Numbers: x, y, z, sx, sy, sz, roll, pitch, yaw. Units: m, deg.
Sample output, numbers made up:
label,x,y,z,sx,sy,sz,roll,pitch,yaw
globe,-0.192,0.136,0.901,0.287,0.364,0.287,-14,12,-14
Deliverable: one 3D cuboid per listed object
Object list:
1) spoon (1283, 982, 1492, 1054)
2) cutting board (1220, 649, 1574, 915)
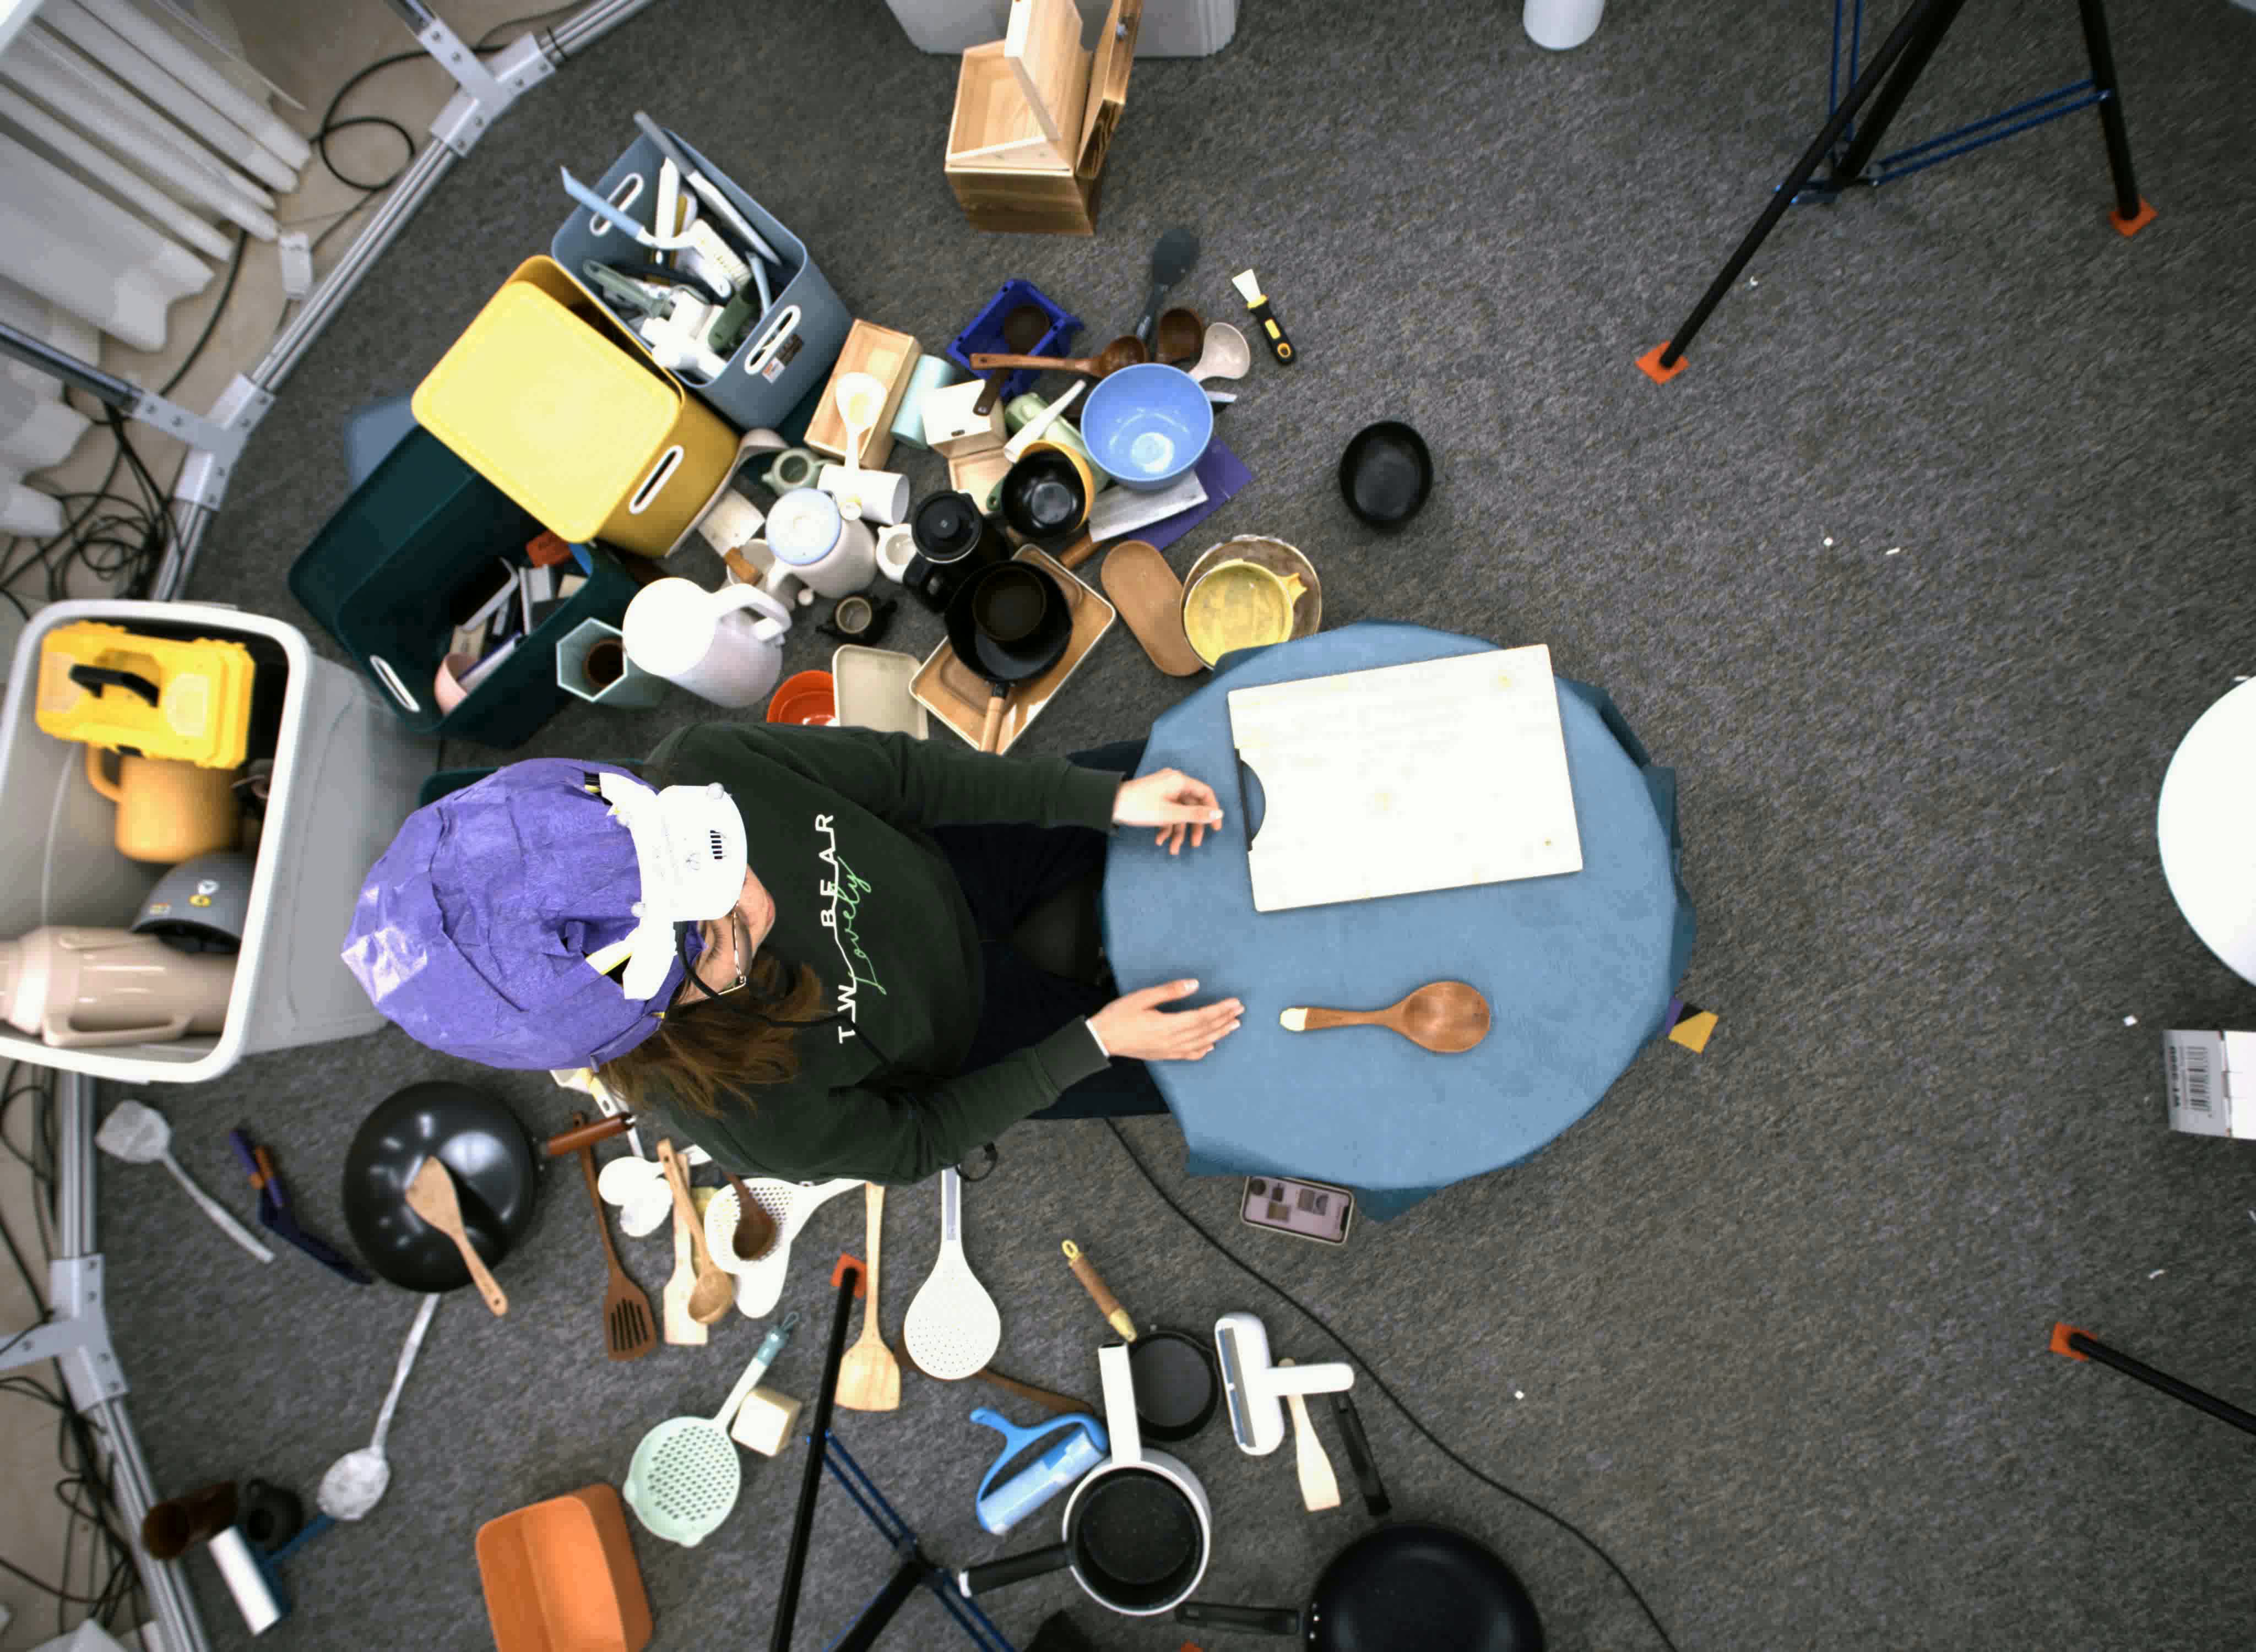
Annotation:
label,x,y,z,sx,sy,sz,roll,pitch,yaw
spoon,0.270,0.200,1.447,0.217,0.017,0.075,-2,87,10
cutting board,0.285,-0.047,1.462,0.350,0.023,0.249,-9,84,10
